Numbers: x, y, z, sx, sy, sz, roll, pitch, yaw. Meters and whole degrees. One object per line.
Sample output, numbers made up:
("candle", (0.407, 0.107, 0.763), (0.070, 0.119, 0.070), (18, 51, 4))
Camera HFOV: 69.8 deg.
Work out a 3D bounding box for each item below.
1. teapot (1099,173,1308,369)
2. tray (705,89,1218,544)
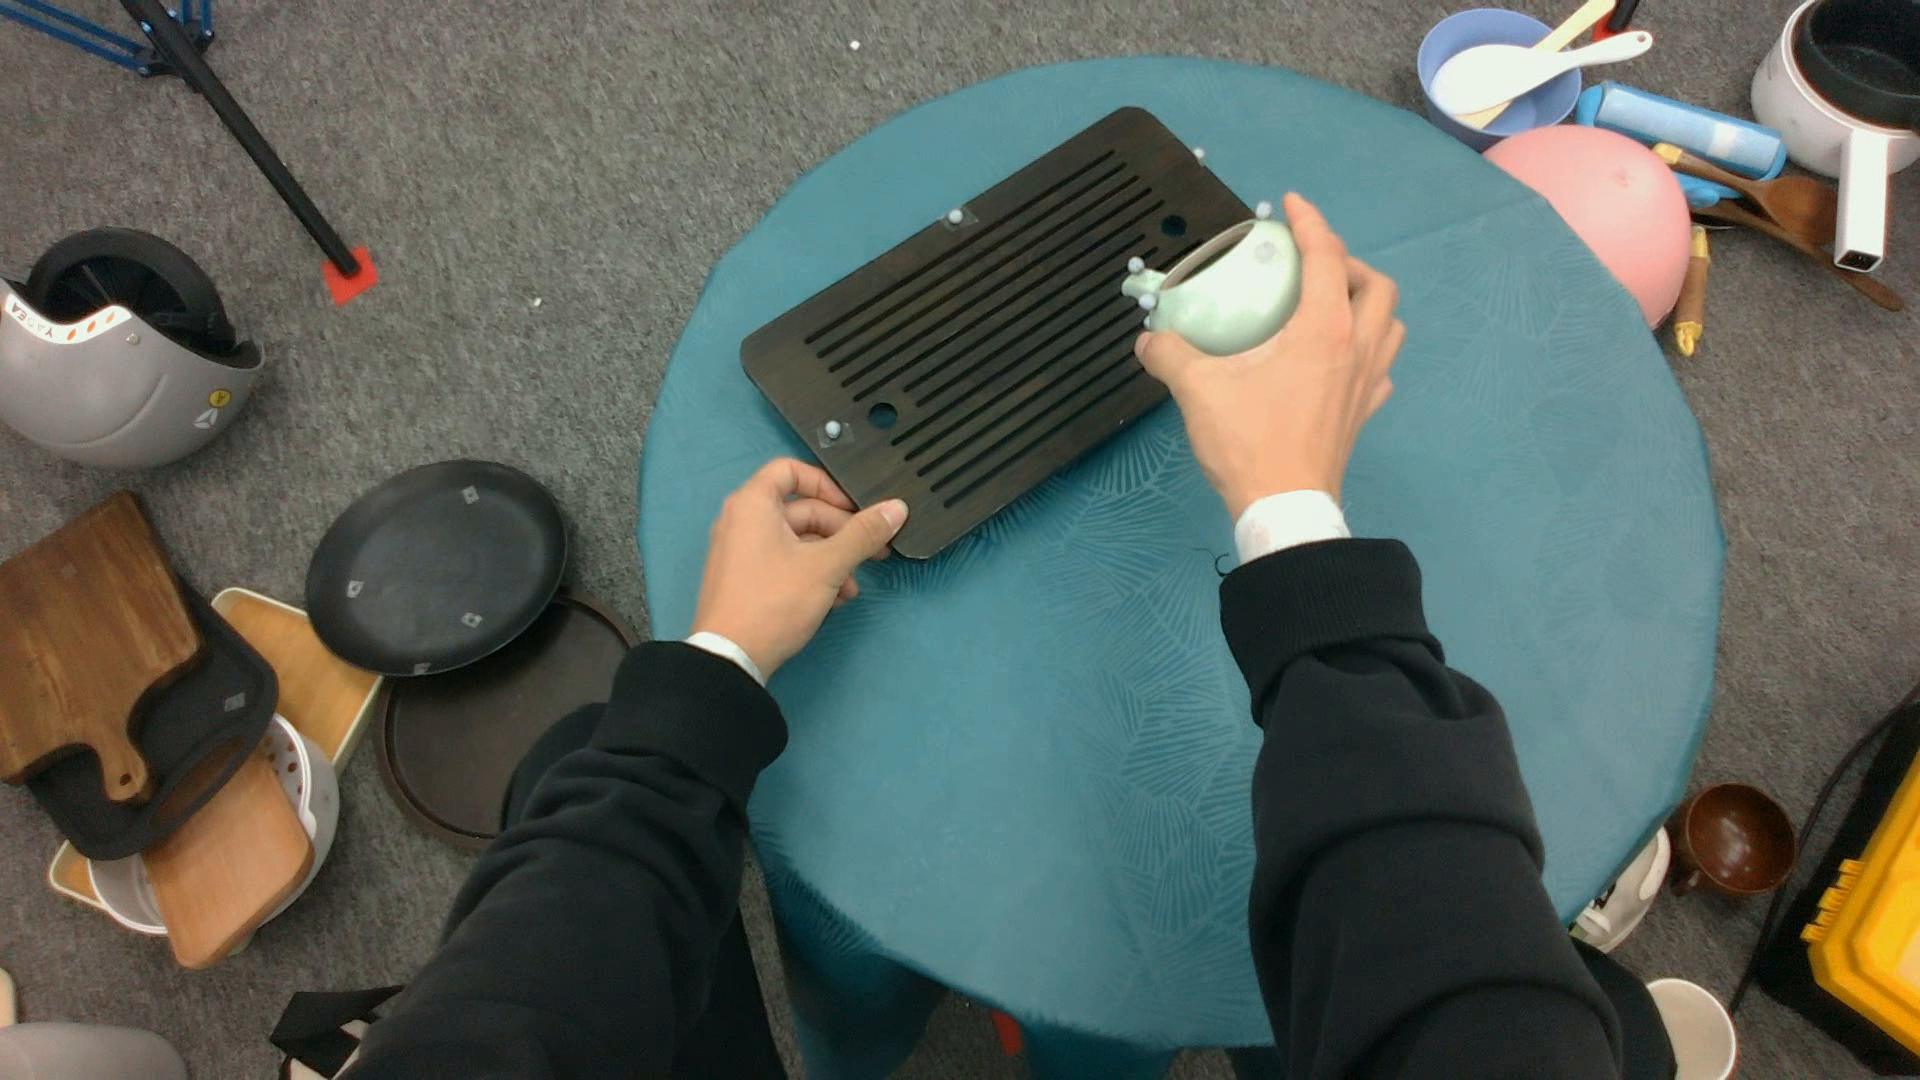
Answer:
("teapot", (0.122, -0.125, 0.664), (0.088, 0.143, 0.074), (-45, 102, -19))
("tray", (0.022, -0.137, 0.791), (0.307, 0.018, 0.170), (-36, 73, -18))
